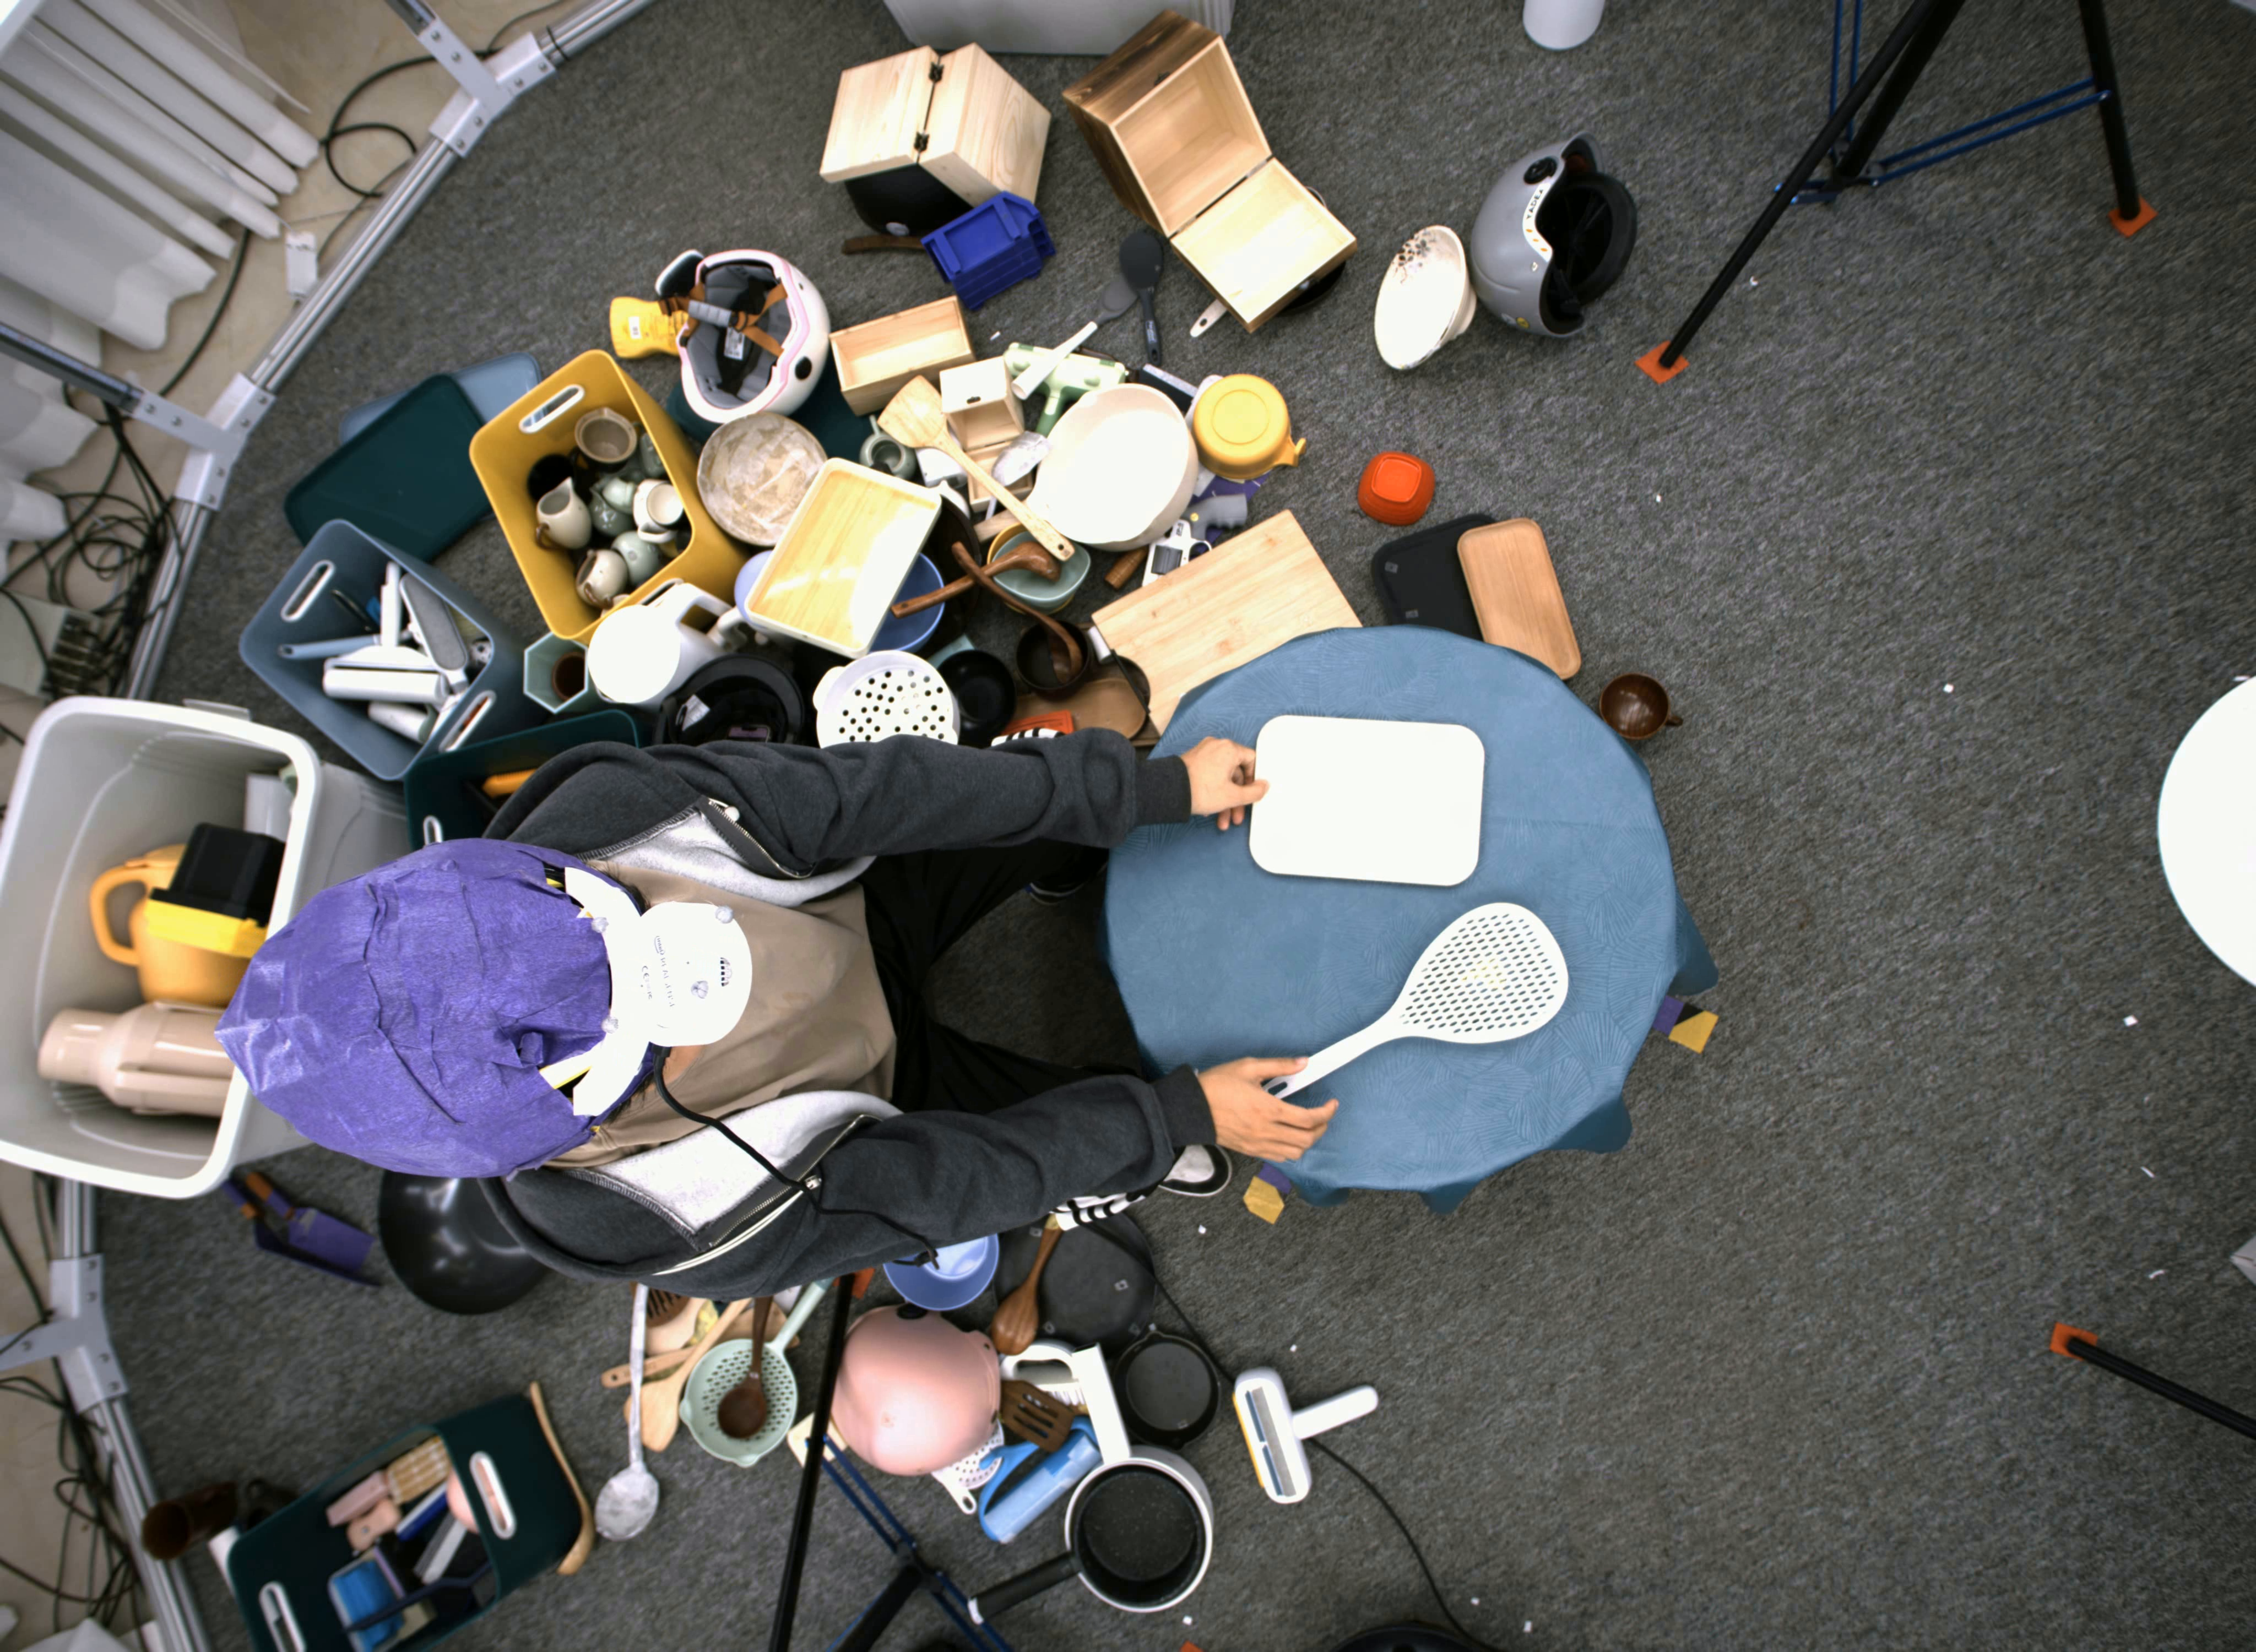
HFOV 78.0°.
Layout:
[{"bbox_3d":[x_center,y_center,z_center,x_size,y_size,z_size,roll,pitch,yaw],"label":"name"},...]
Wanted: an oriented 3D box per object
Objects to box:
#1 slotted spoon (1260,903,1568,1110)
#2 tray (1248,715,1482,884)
[{"bbox_3d":[0.284,0.201,1.429,0.350,0.050,0.136,-30,85,8],"label":"slotted spoon"},{"bbox_3d":[0.250,-0.030,1.459,0.240,0.017,0.171,4,89,10],"label":"tray"}]
